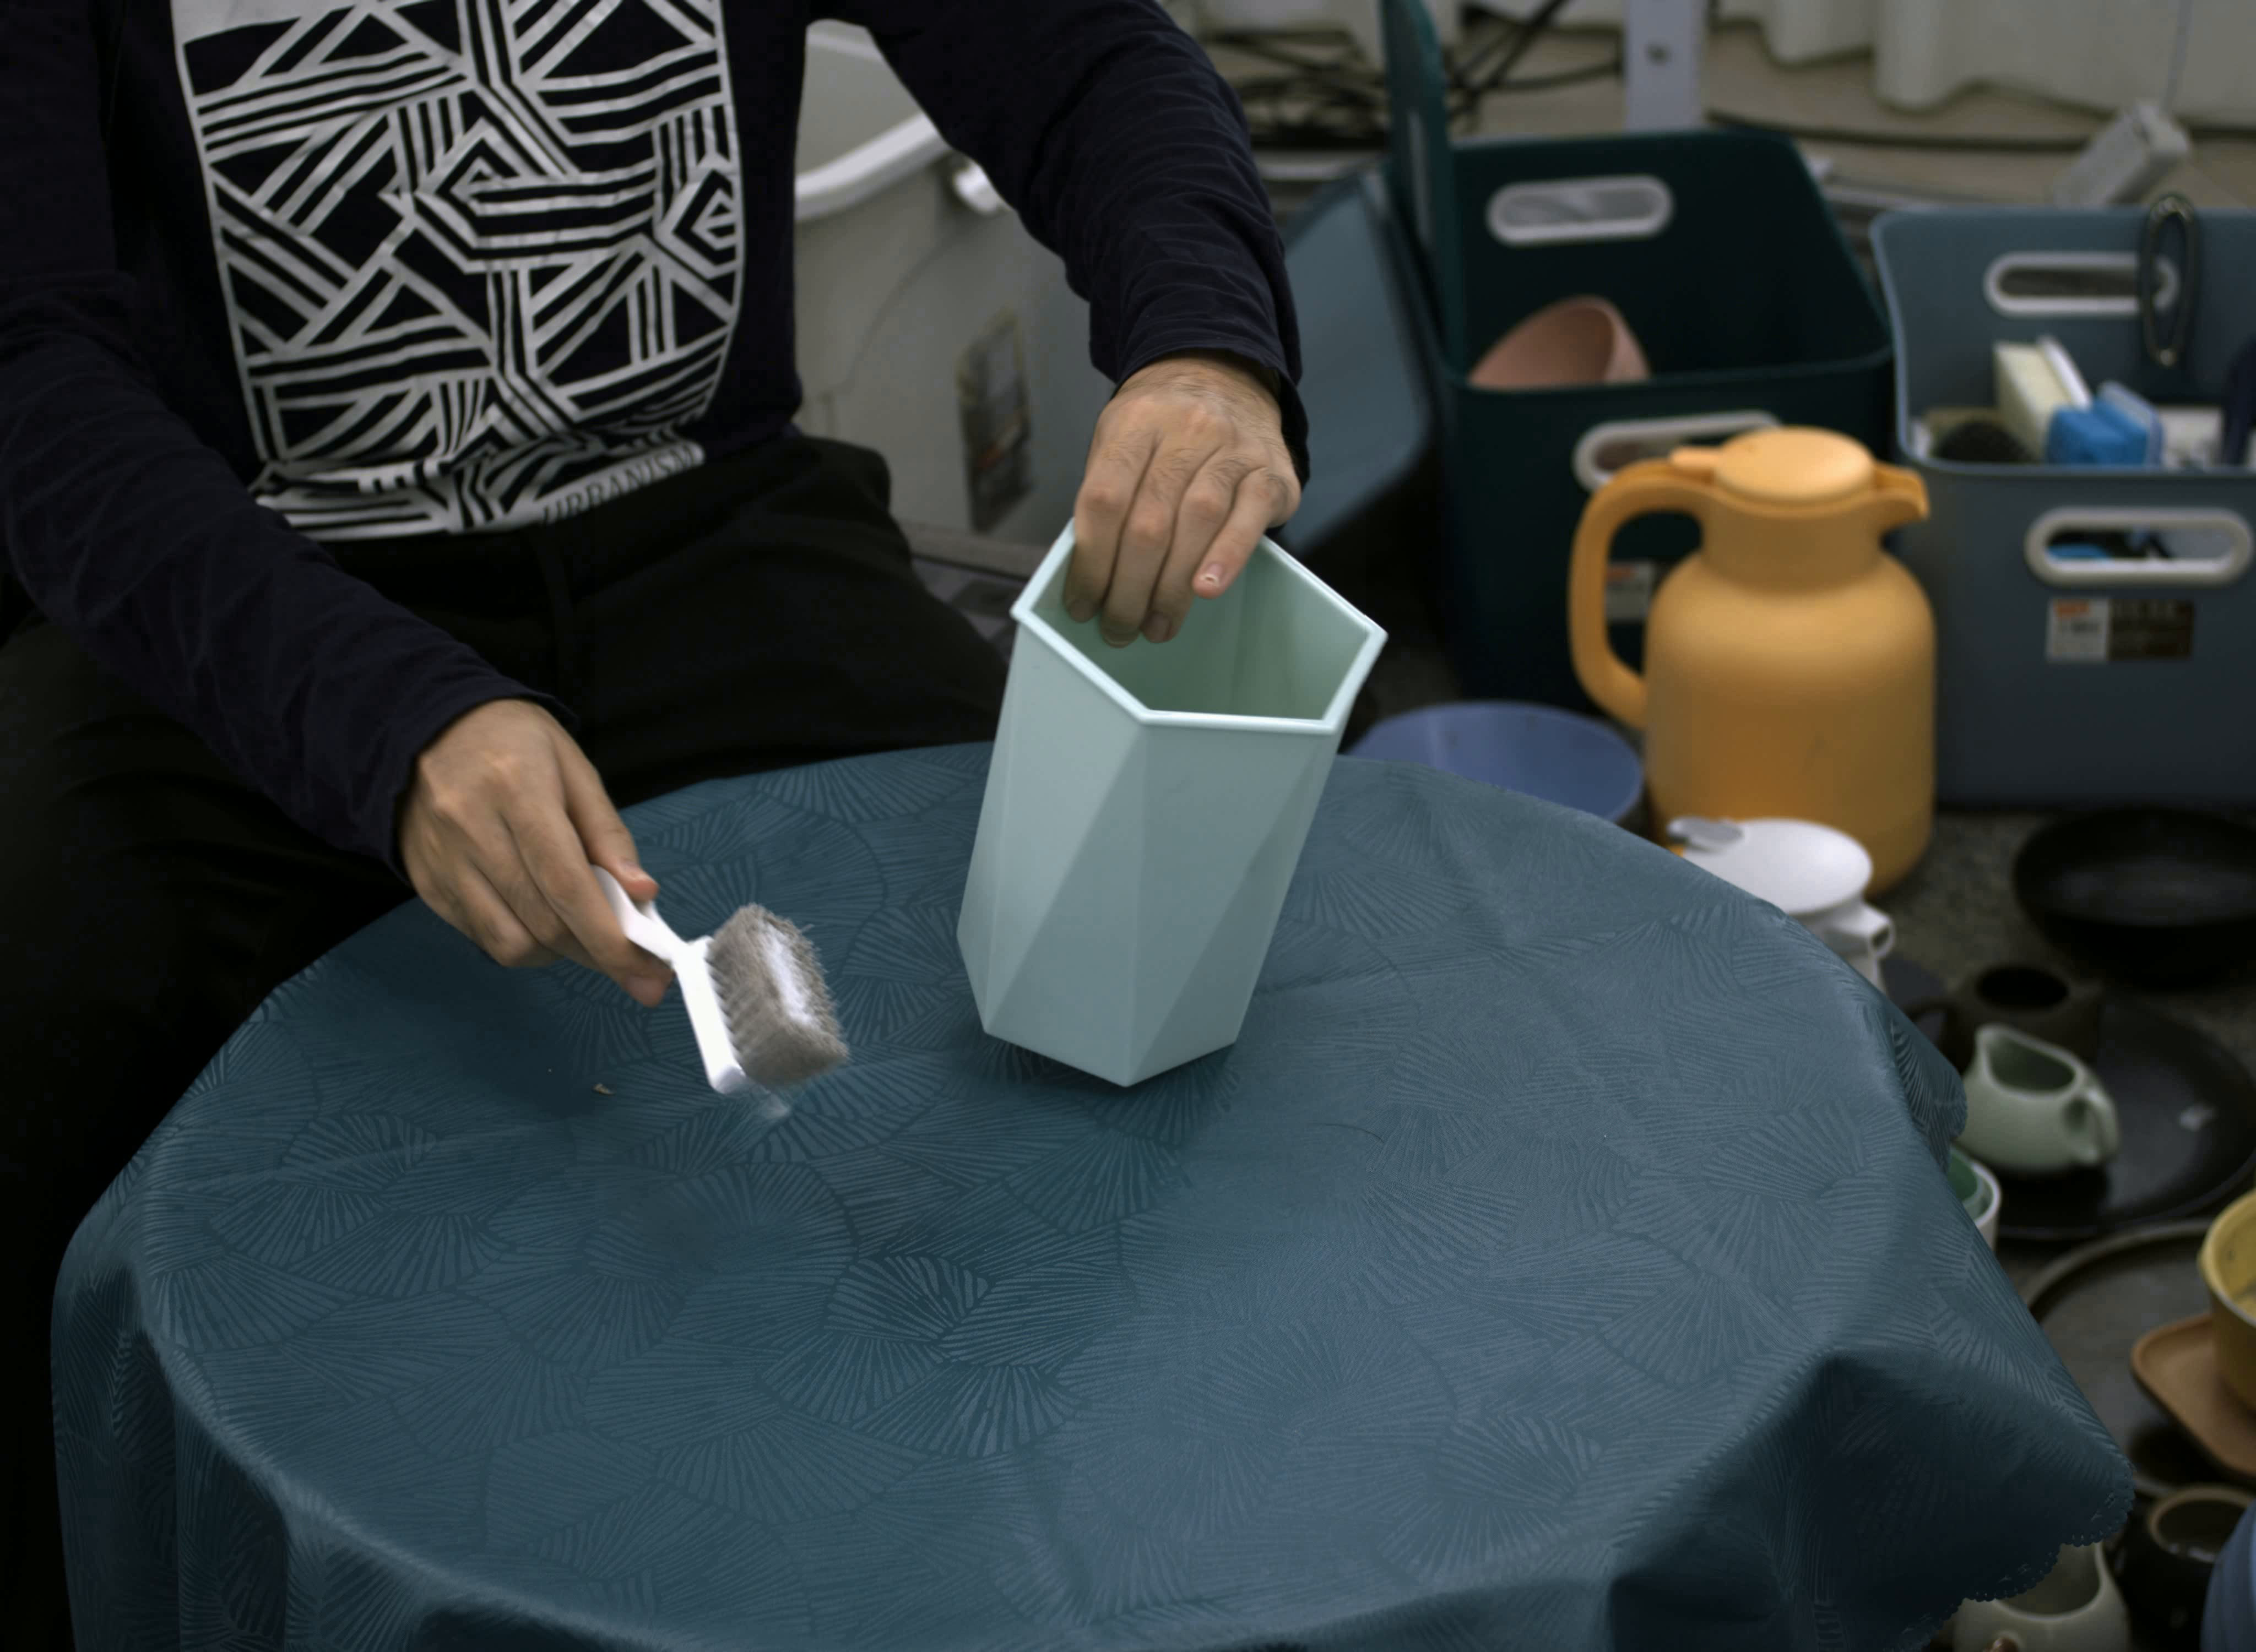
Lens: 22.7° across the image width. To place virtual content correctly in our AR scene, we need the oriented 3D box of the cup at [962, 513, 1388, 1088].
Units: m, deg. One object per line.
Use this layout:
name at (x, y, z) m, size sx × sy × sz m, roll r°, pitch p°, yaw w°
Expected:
cup at (0.009, -0.006, 1.907) m, size 0.115 × 0.160 × 0.133 m, roll 19°, pitch 34°, yaw 5°

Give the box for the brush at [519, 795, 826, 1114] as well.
brush at (-0.154, 0.026, 1.886) m, size 0.034 × 0.050 × 0.245 m, roll 27°, pitch 11°, yaw -30°
